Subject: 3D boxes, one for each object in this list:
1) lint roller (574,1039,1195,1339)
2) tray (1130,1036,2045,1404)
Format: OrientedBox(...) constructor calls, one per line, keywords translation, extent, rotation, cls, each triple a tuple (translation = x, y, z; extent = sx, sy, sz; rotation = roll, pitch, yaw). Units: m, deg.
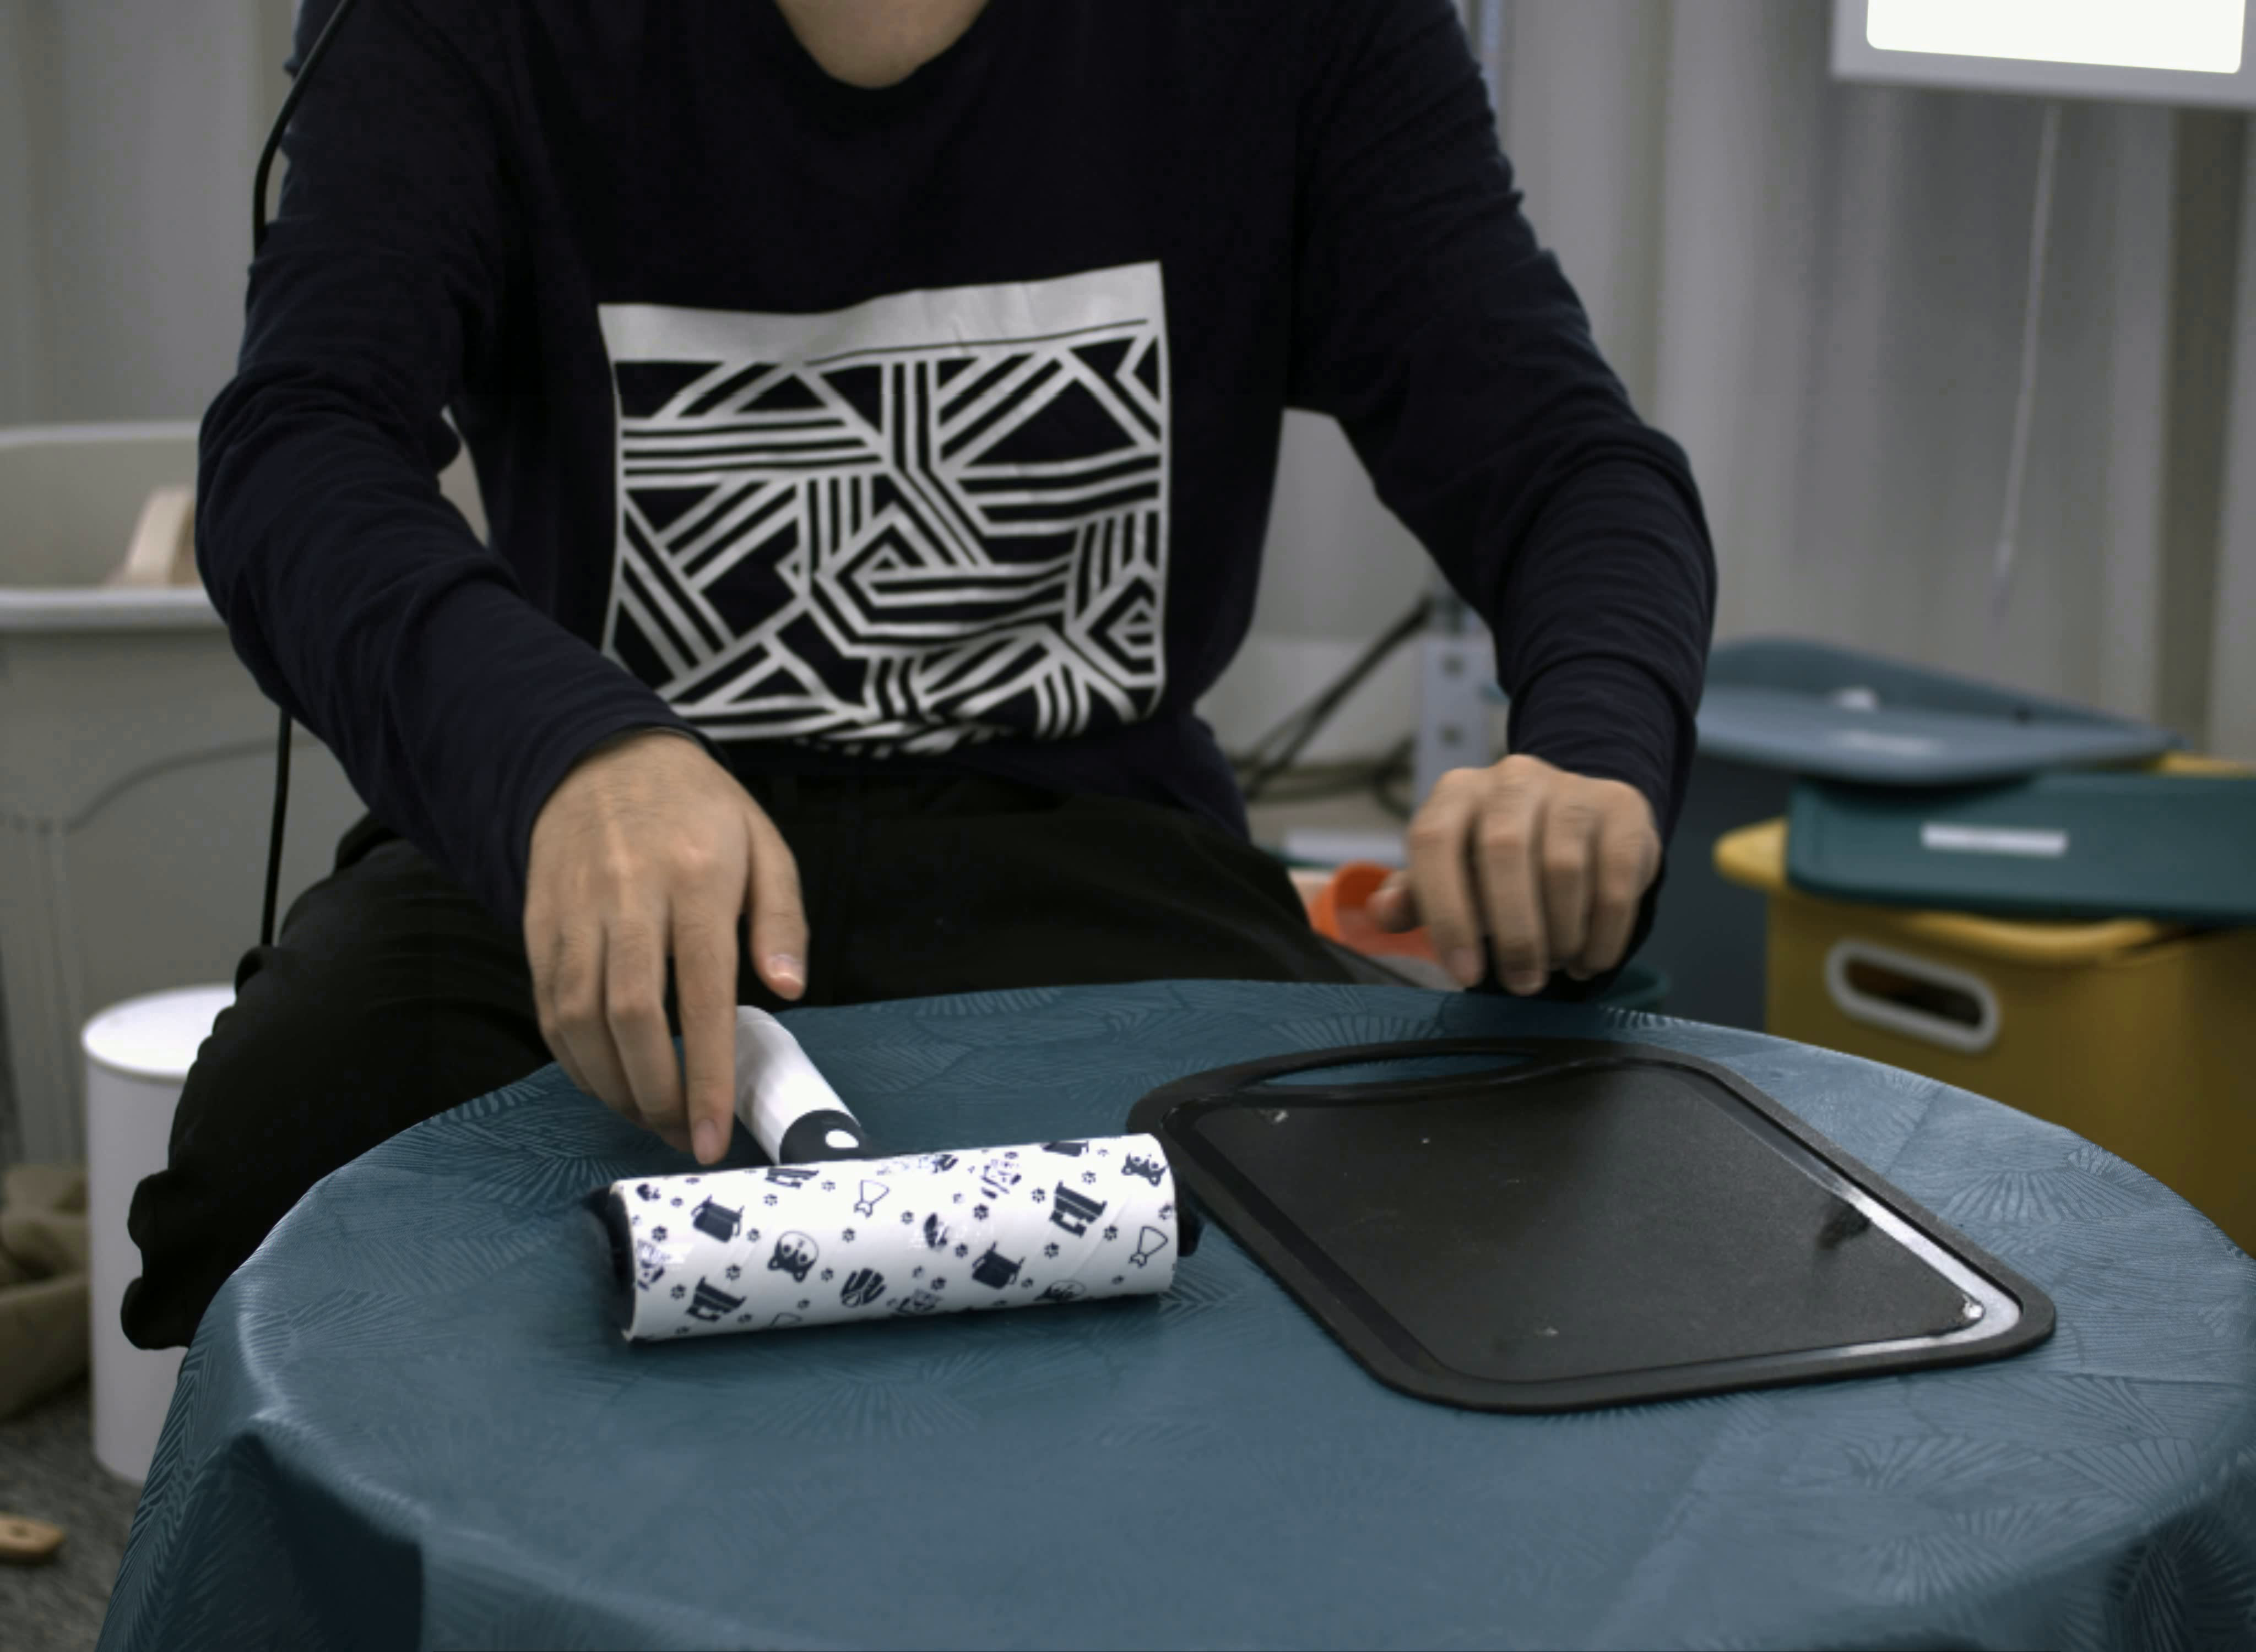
OrientedBox(translation=(-0.097, 0.096, 1.607), extent=(0.176, 0.051, 0.244), rotation=(-5, 13, -16), cls="lint roller")
OrientedBox(translation=(0.129, 0.113, 1.615), extent=(0.211, 0.010, 0.322), rotation=(-4, 16, -17), cls="tray")
